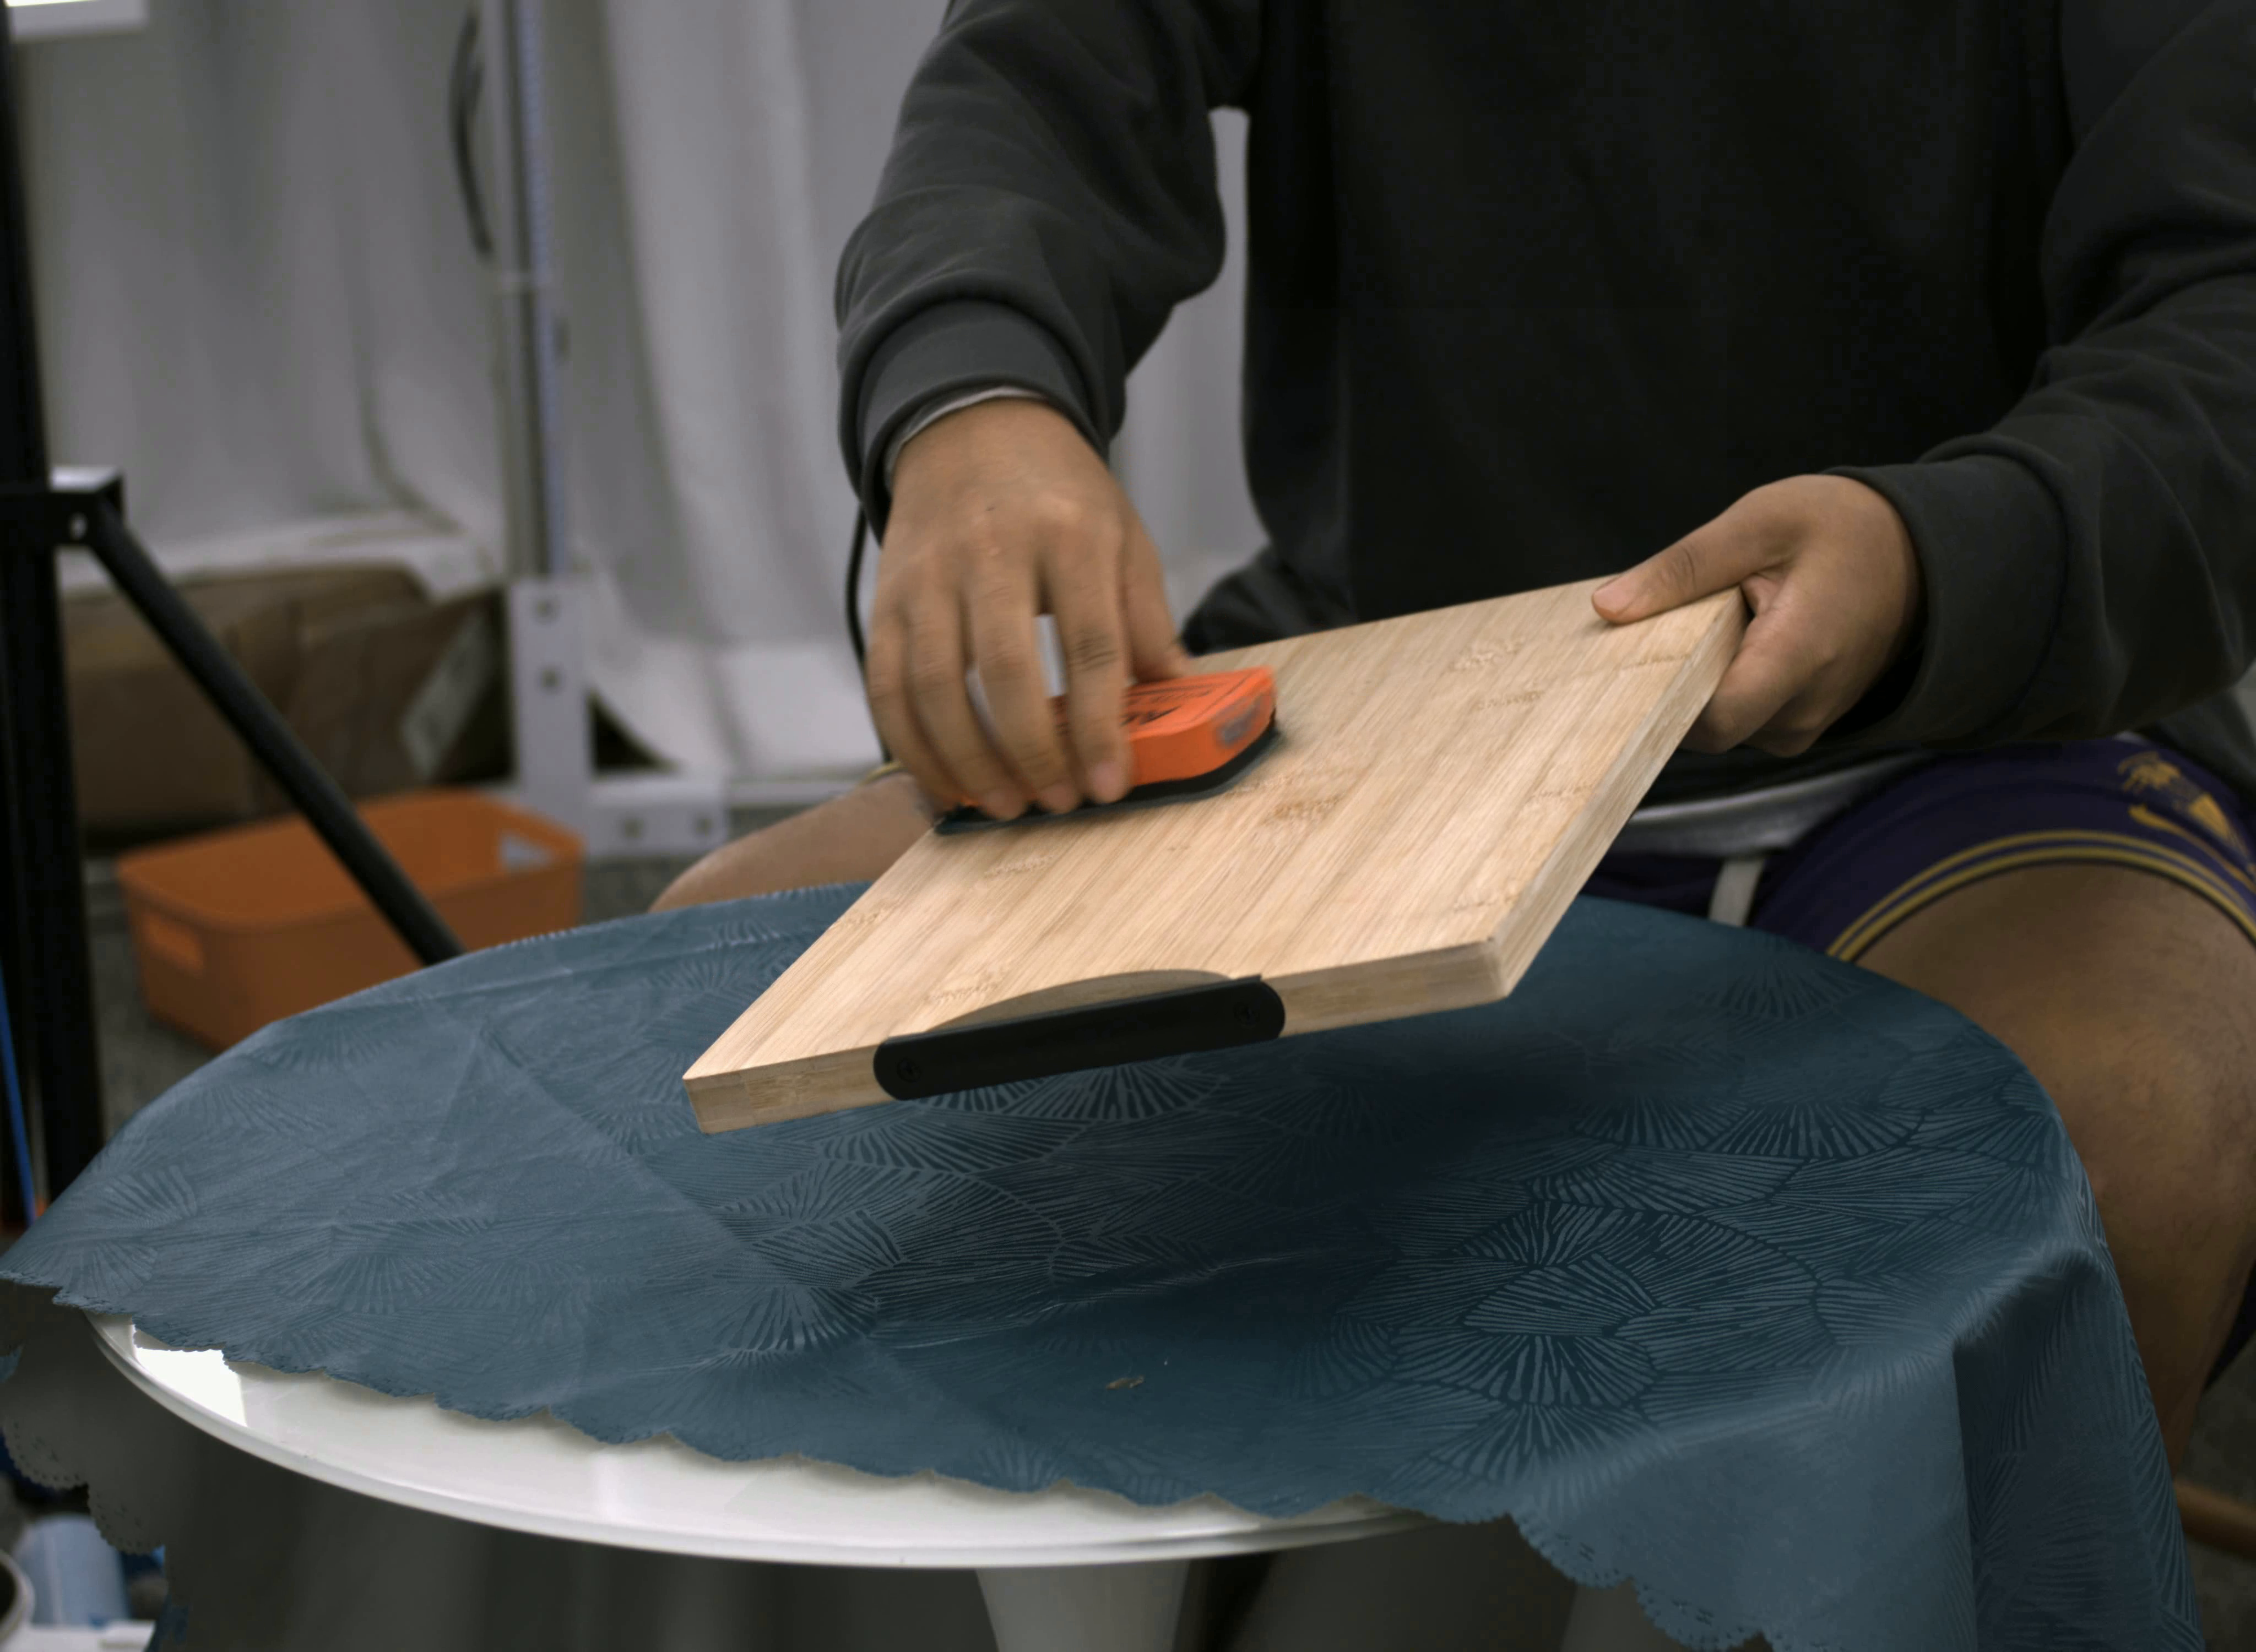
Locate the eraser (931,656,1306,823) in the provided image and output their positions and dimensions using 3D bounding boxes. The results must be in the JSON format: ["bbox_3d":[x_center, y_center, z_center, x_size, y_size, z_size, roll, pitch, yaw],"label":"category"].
[{"bbox_3d":[-0.002,-0.026,1.614,0.110,0.023,0.058,-7,18,33],"label":"eraser"}]

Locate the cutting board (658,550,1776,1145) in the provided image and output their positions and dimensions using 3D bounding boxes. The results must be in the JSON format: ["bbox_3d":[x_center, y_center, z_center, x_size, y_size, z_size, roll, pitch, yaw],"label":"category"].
[{"bbox_3d":[0.038,0.001,1.552,0.254,0.023,0.345,-11,16,23],"label":"cutting board"}]
